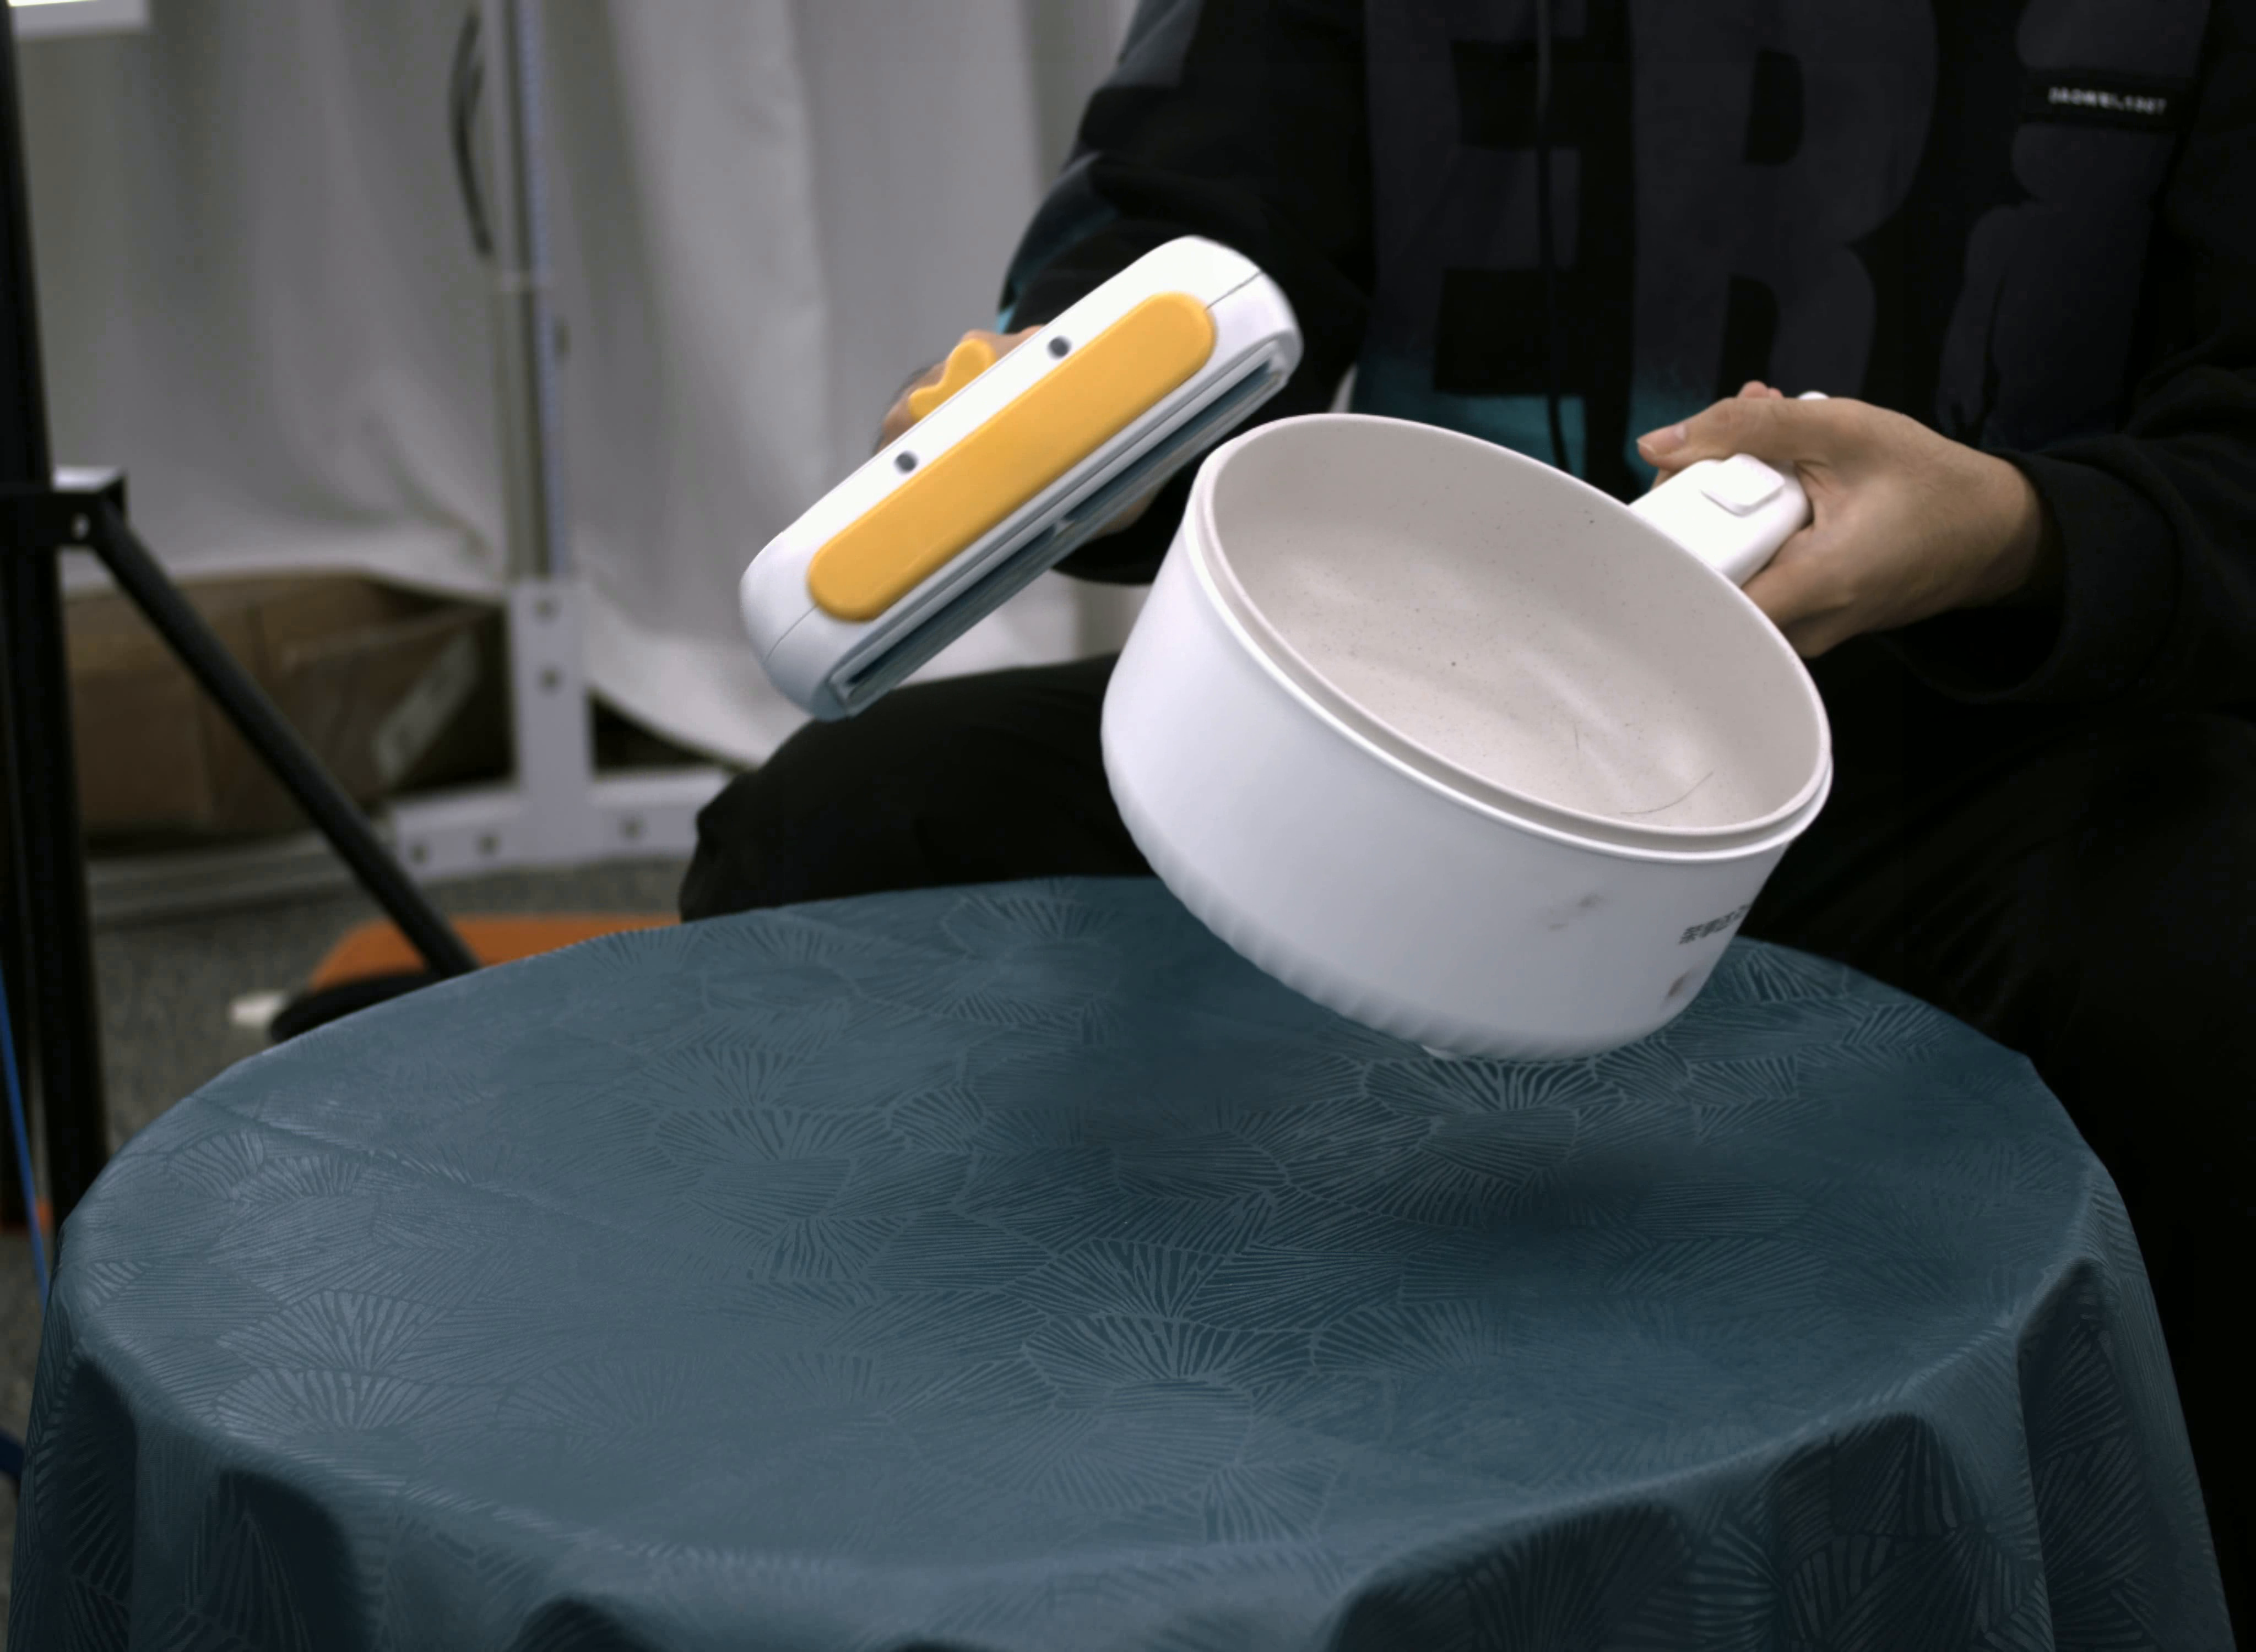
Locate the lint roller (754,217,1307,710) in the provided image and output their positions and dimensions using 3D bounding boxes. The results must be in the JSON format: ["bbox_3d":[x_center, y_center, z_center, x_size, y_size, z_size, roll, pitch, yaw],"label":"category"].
[{"bbox_3d":[-0.036,-0.105,1.670,0.192,0.074,0.192,-42,-6,-6],"label":"lint roller"}]

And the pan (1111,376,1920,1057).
[{"bbox_3d":[0.132,-0.047,1.579,0.203,0.102,0.349,36,33,16],"label":"pan"}]
